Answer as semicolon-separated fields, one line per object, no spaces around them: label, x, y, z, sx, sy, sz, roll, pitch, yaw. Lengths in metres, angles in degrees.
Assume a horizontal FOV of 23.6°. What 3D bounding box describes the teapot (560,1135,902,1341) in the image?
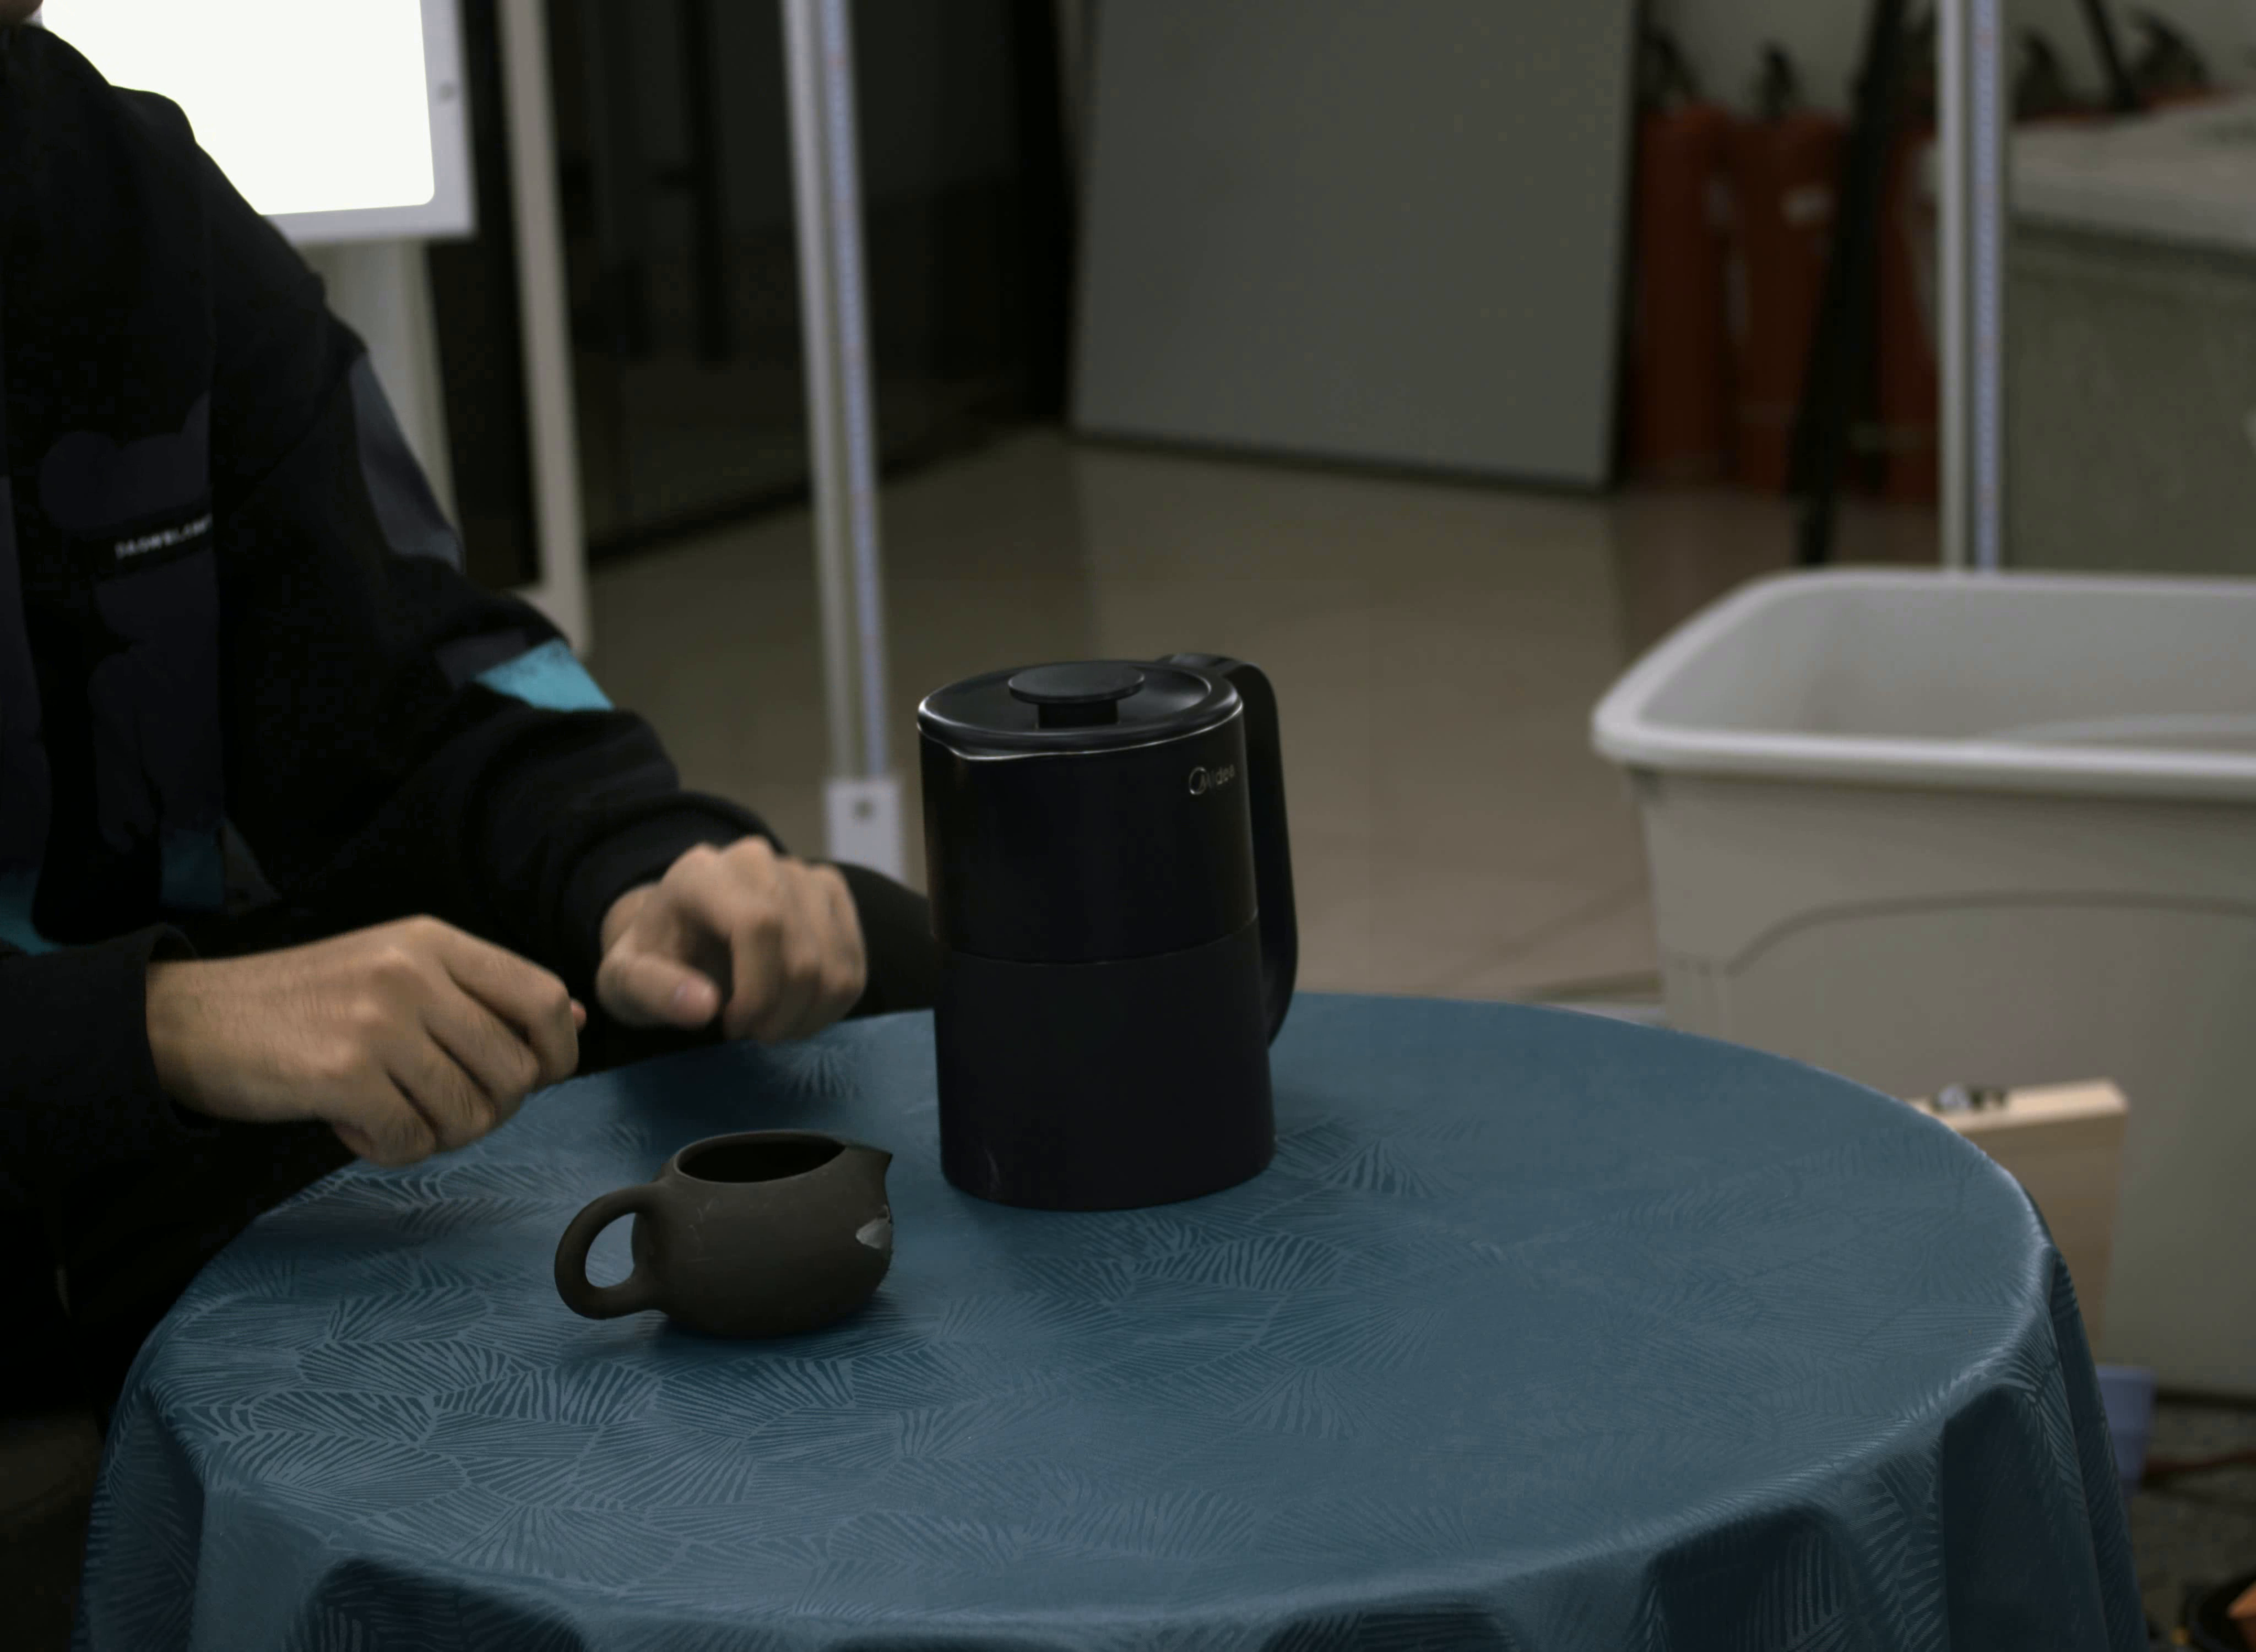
teapot;-0.122;0.128;1.673;0.111;0.053;0.084;-6;13;-21

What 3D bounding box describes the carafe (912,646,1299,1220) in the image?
carafe;0.000;0.025;1.802;0.115;0.175;0.169;3;17;32
